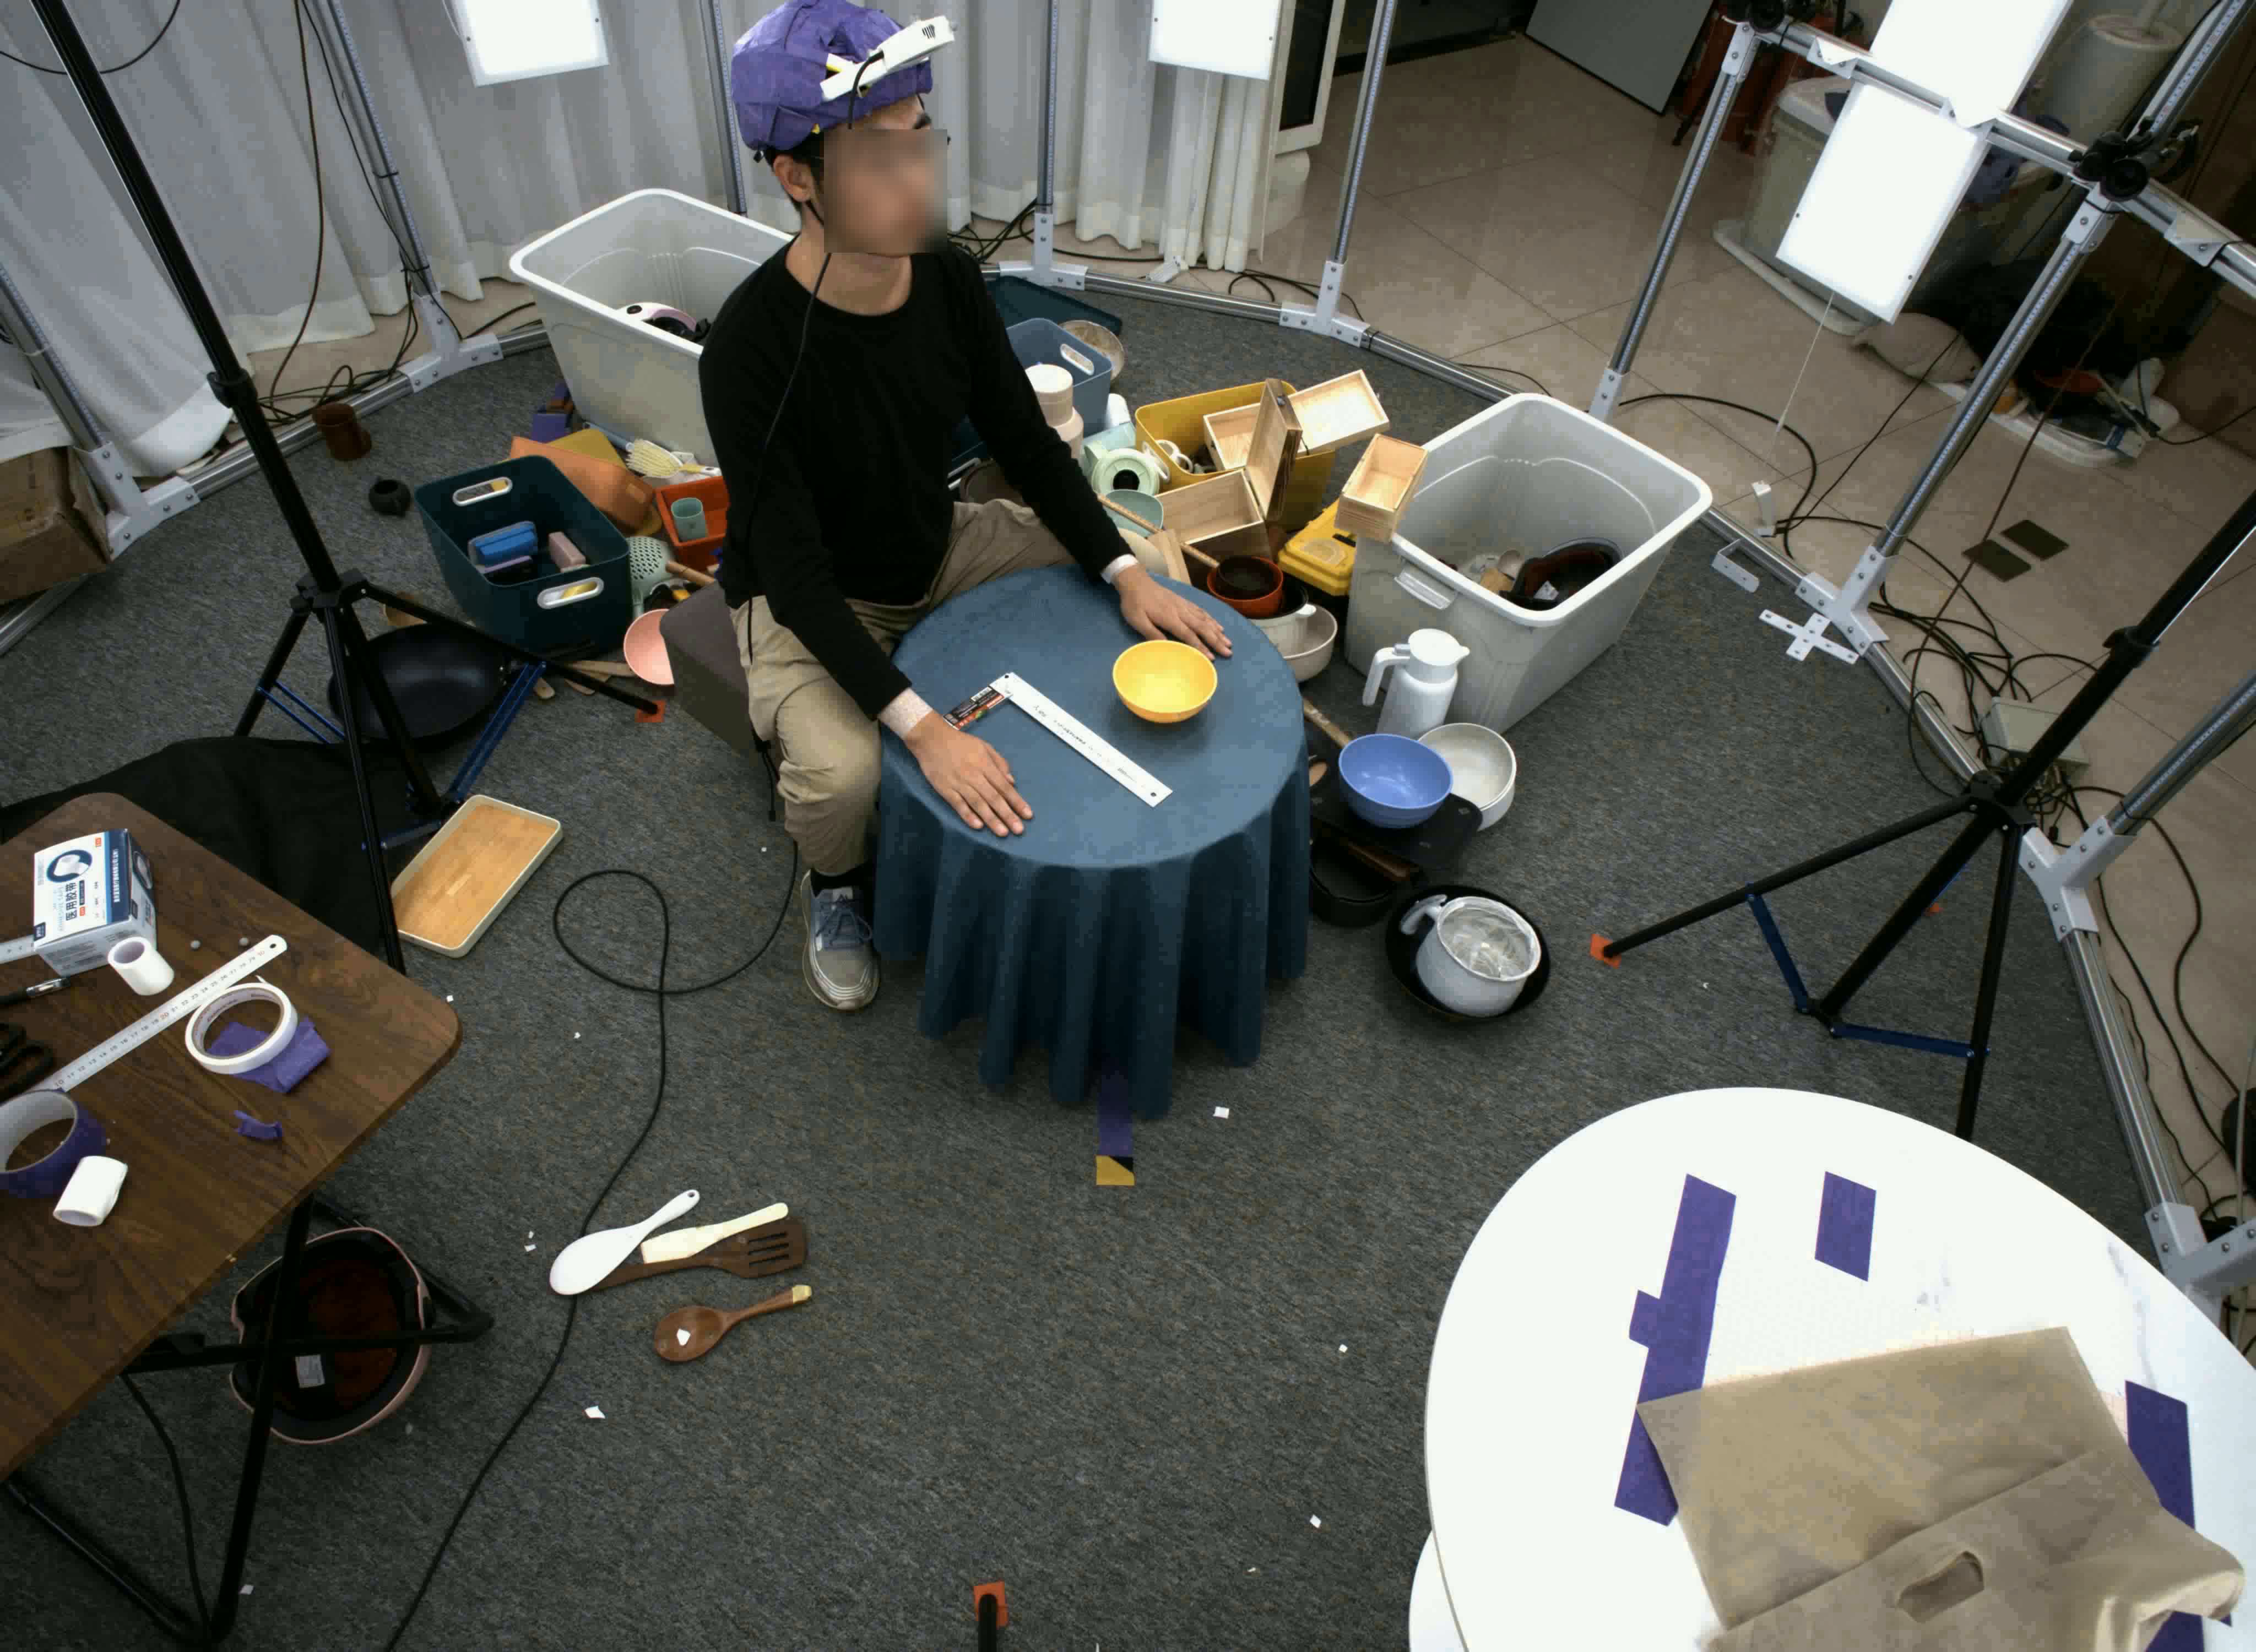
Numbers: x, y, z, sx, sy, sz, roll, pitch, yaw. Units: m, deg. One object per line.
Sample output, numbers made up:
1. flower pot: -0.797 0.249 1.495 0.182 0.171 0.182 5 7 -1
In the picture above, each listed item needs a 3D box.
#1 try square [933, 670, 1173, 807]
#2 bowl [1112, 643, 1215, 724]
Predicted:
1. try square: -0.105 -0.093 1.743 0.317 0.015 0.154 38 60 24
2. bowl: 0.048 -0.189 1.802 0.145 0.058 0.149 2 46 -2
